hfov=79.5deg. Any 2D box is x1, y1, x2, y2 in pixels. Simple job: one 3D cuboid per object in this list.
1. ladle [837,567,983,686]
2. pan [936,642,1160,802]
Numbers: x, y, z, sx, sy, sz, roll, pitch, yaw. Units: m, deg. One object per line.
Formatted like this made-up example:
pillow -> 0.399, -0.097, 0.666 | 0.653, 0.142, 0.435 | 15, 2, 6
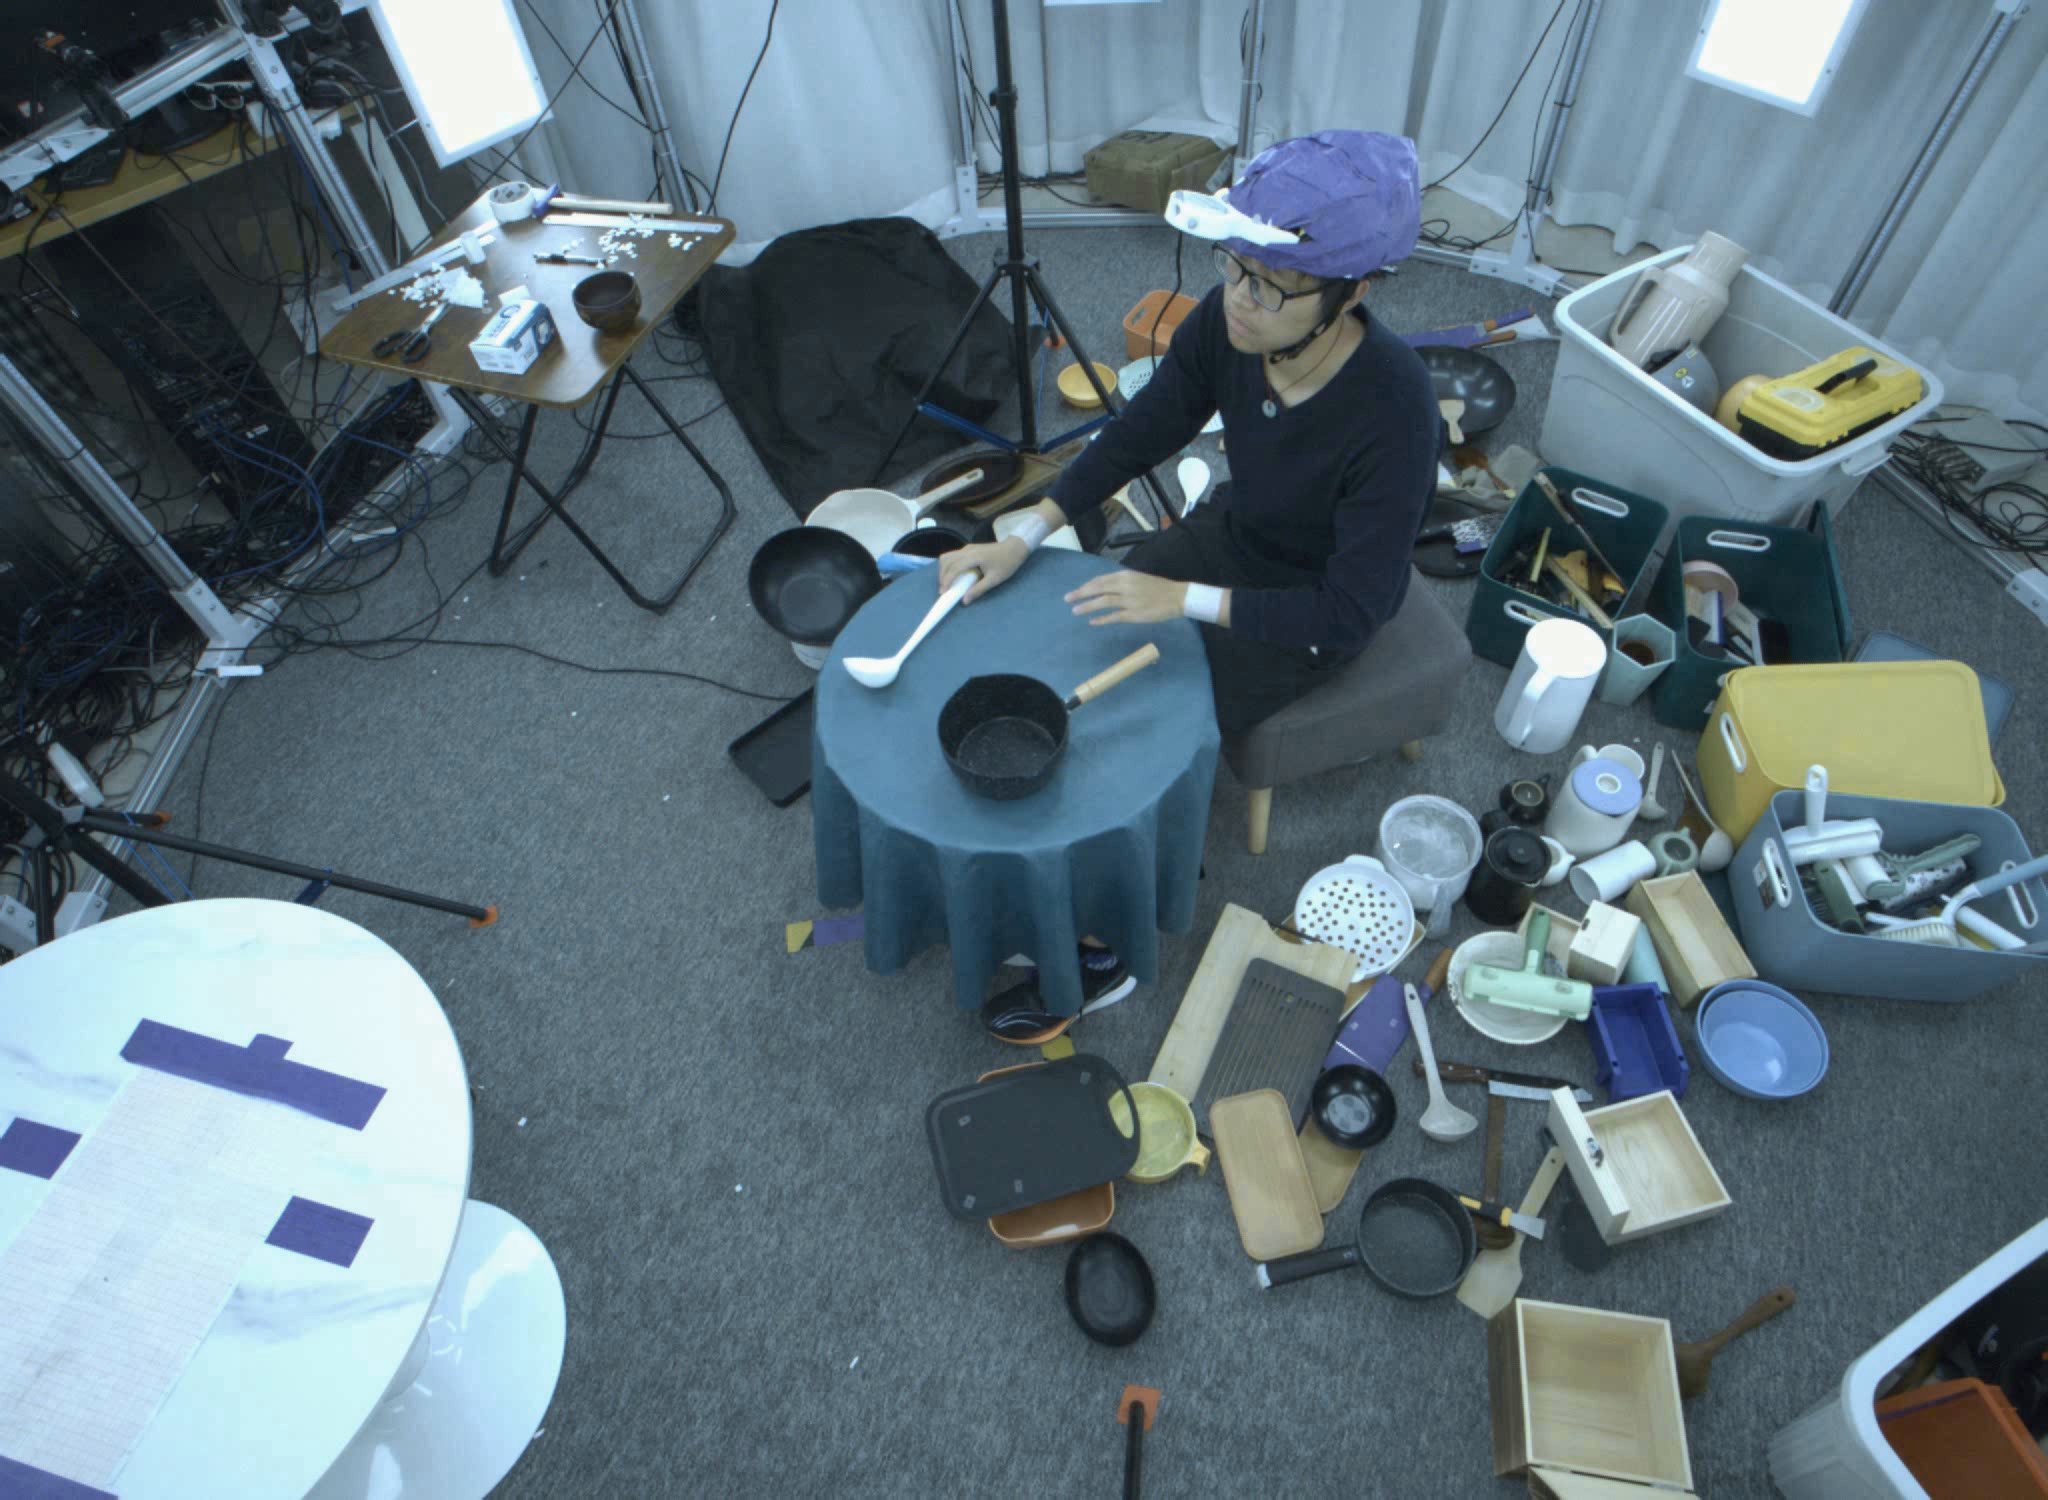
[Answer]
ladle -> -0.170, -0.200, 1.899 | 0.088, 0.071, 0.294 | 15, 53, 40
pan -> 0.042, -0.052, 1.755 | 0.345, 0.109, 0.203 | -26, 57, -14
